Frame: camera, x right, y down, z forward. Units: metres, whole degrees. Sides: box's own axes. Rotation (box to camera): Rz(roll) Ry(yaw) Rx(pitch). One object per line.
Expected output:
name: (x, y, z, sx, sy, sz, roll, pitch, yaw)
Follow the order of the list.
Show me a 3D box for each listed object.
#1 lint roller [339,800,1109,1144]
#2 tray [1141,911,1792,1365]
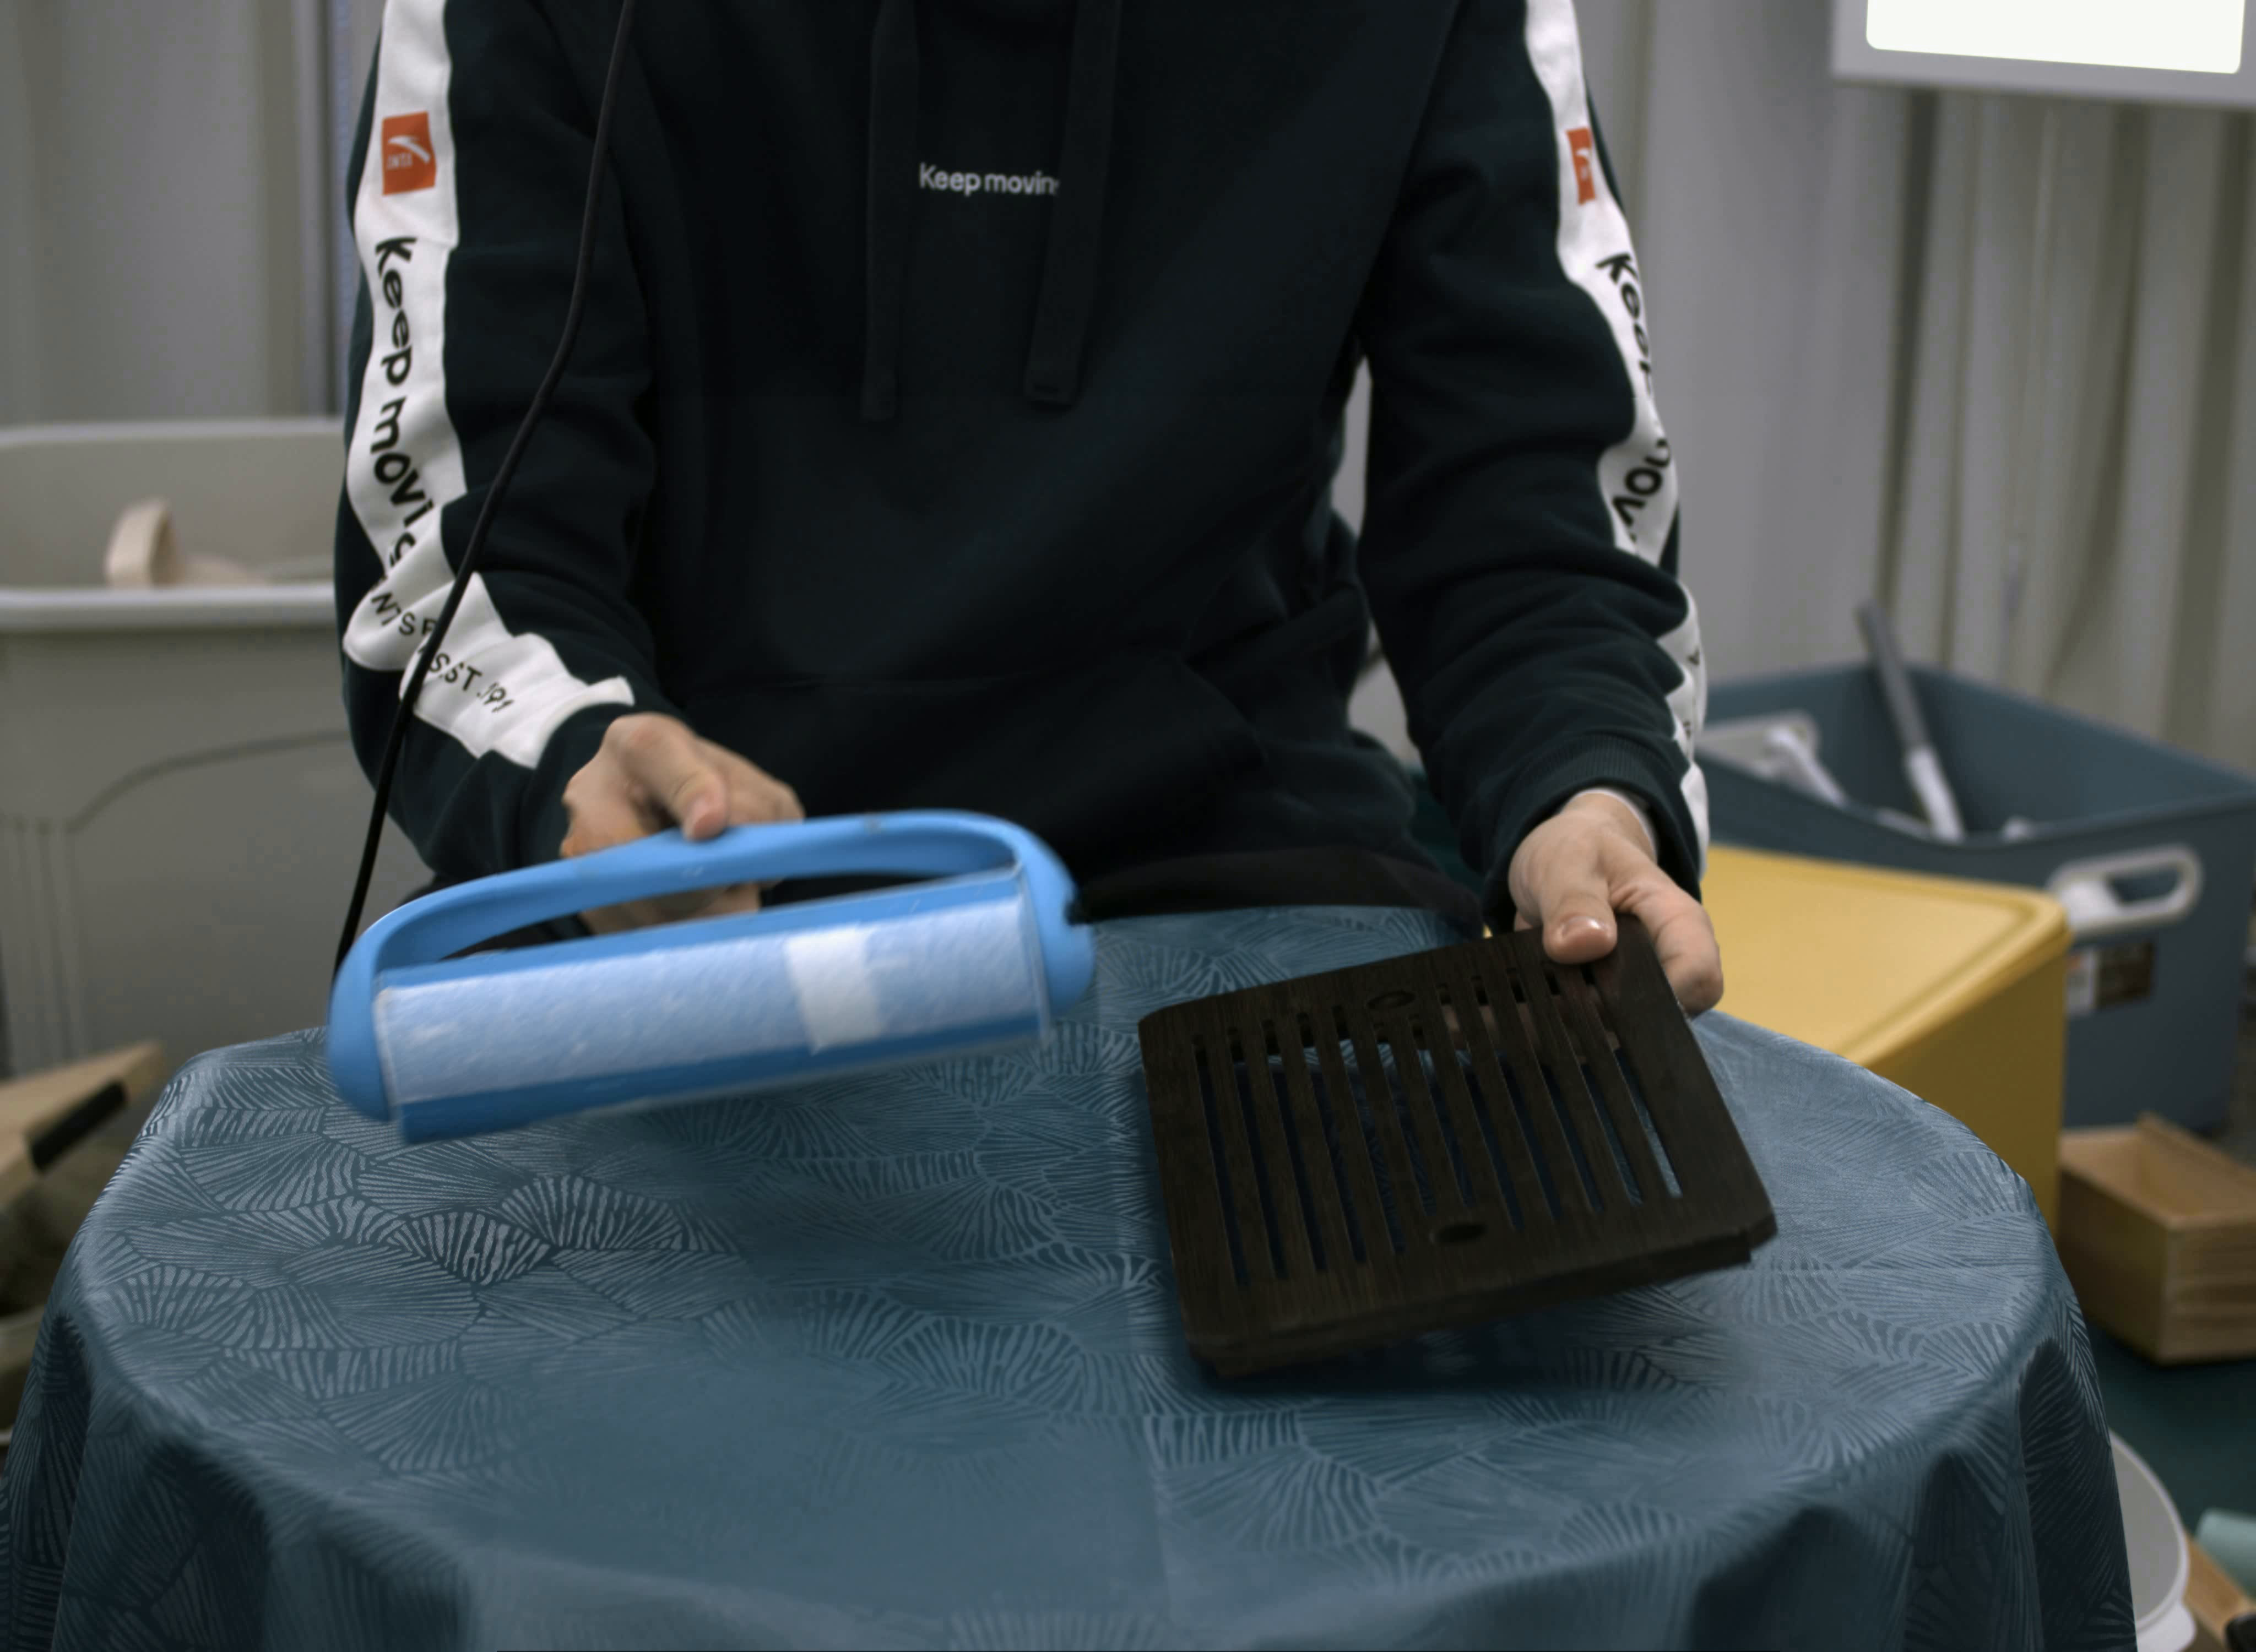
lint roller: (-0.129, 0.030, 1.603, 0.228, 0.068, 0.178, -12, 21, -7)
tray: (0.095, 0.090, 1.596, 0.169, 0.019, 0.304, -12, 15, 0)
